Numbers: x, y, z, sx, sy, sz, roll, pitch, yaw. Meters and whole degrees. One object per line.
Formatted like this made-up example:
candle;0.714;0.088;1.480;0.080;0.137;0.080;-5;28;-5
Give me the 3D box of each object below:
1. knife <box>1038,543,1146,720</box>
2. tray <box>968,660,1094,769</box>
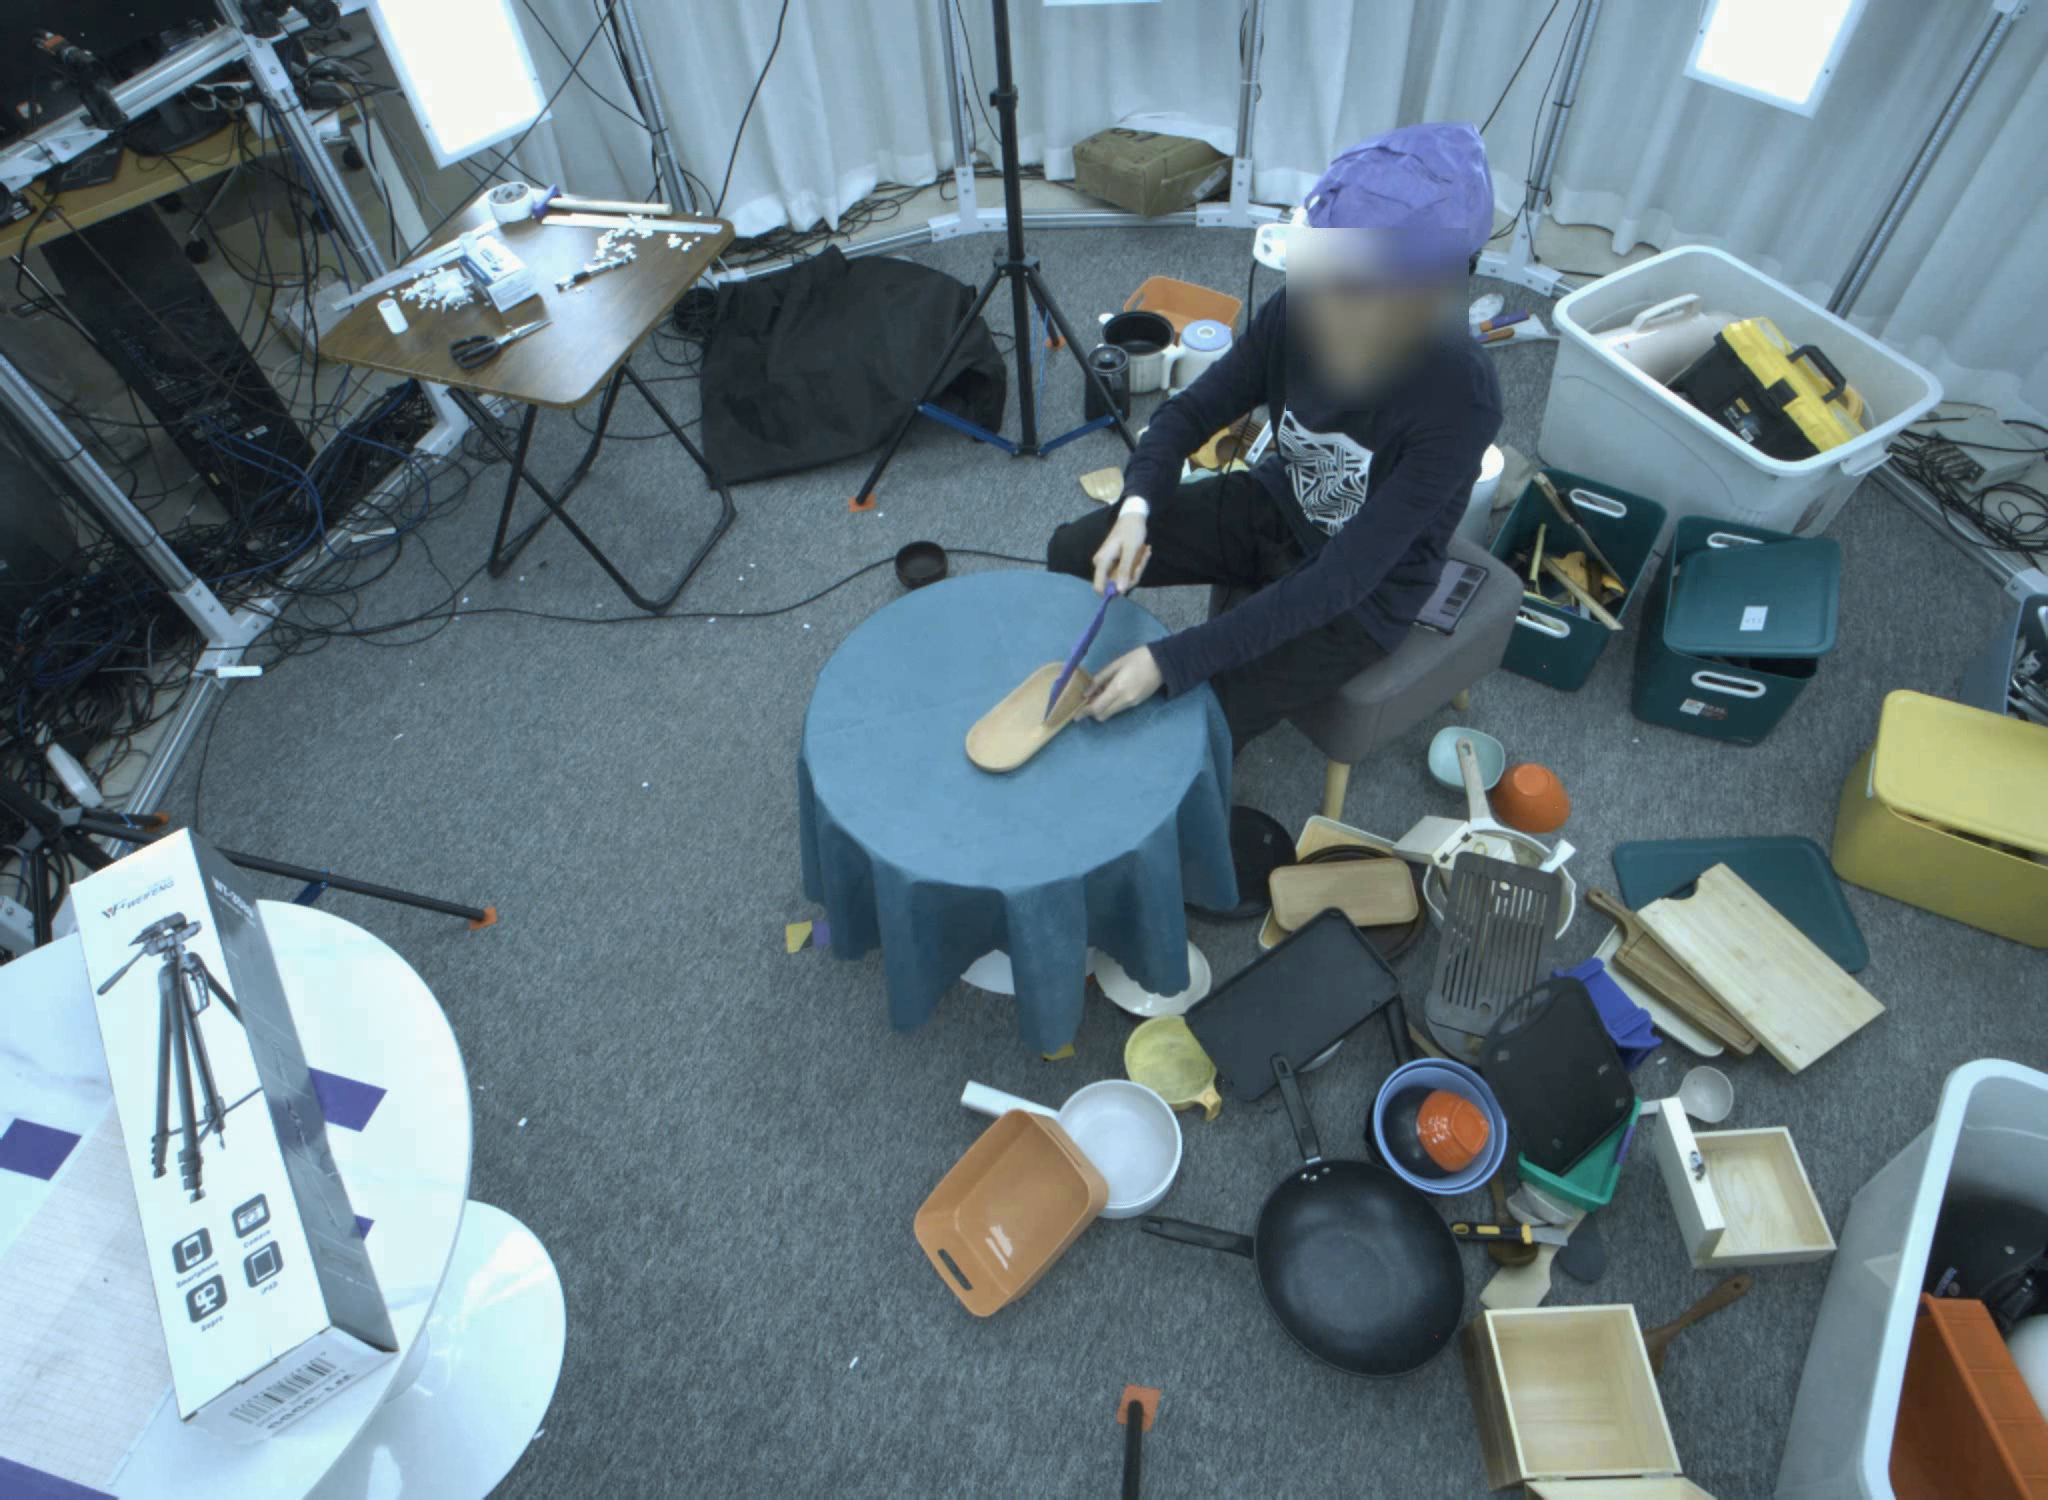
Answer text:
knife;0.097;-0.179;1.838;0.032;0.104;0.316;29;61;7
tray;0.012;-0.053;1.821;0.100;0.020;0.233;34;60;25
